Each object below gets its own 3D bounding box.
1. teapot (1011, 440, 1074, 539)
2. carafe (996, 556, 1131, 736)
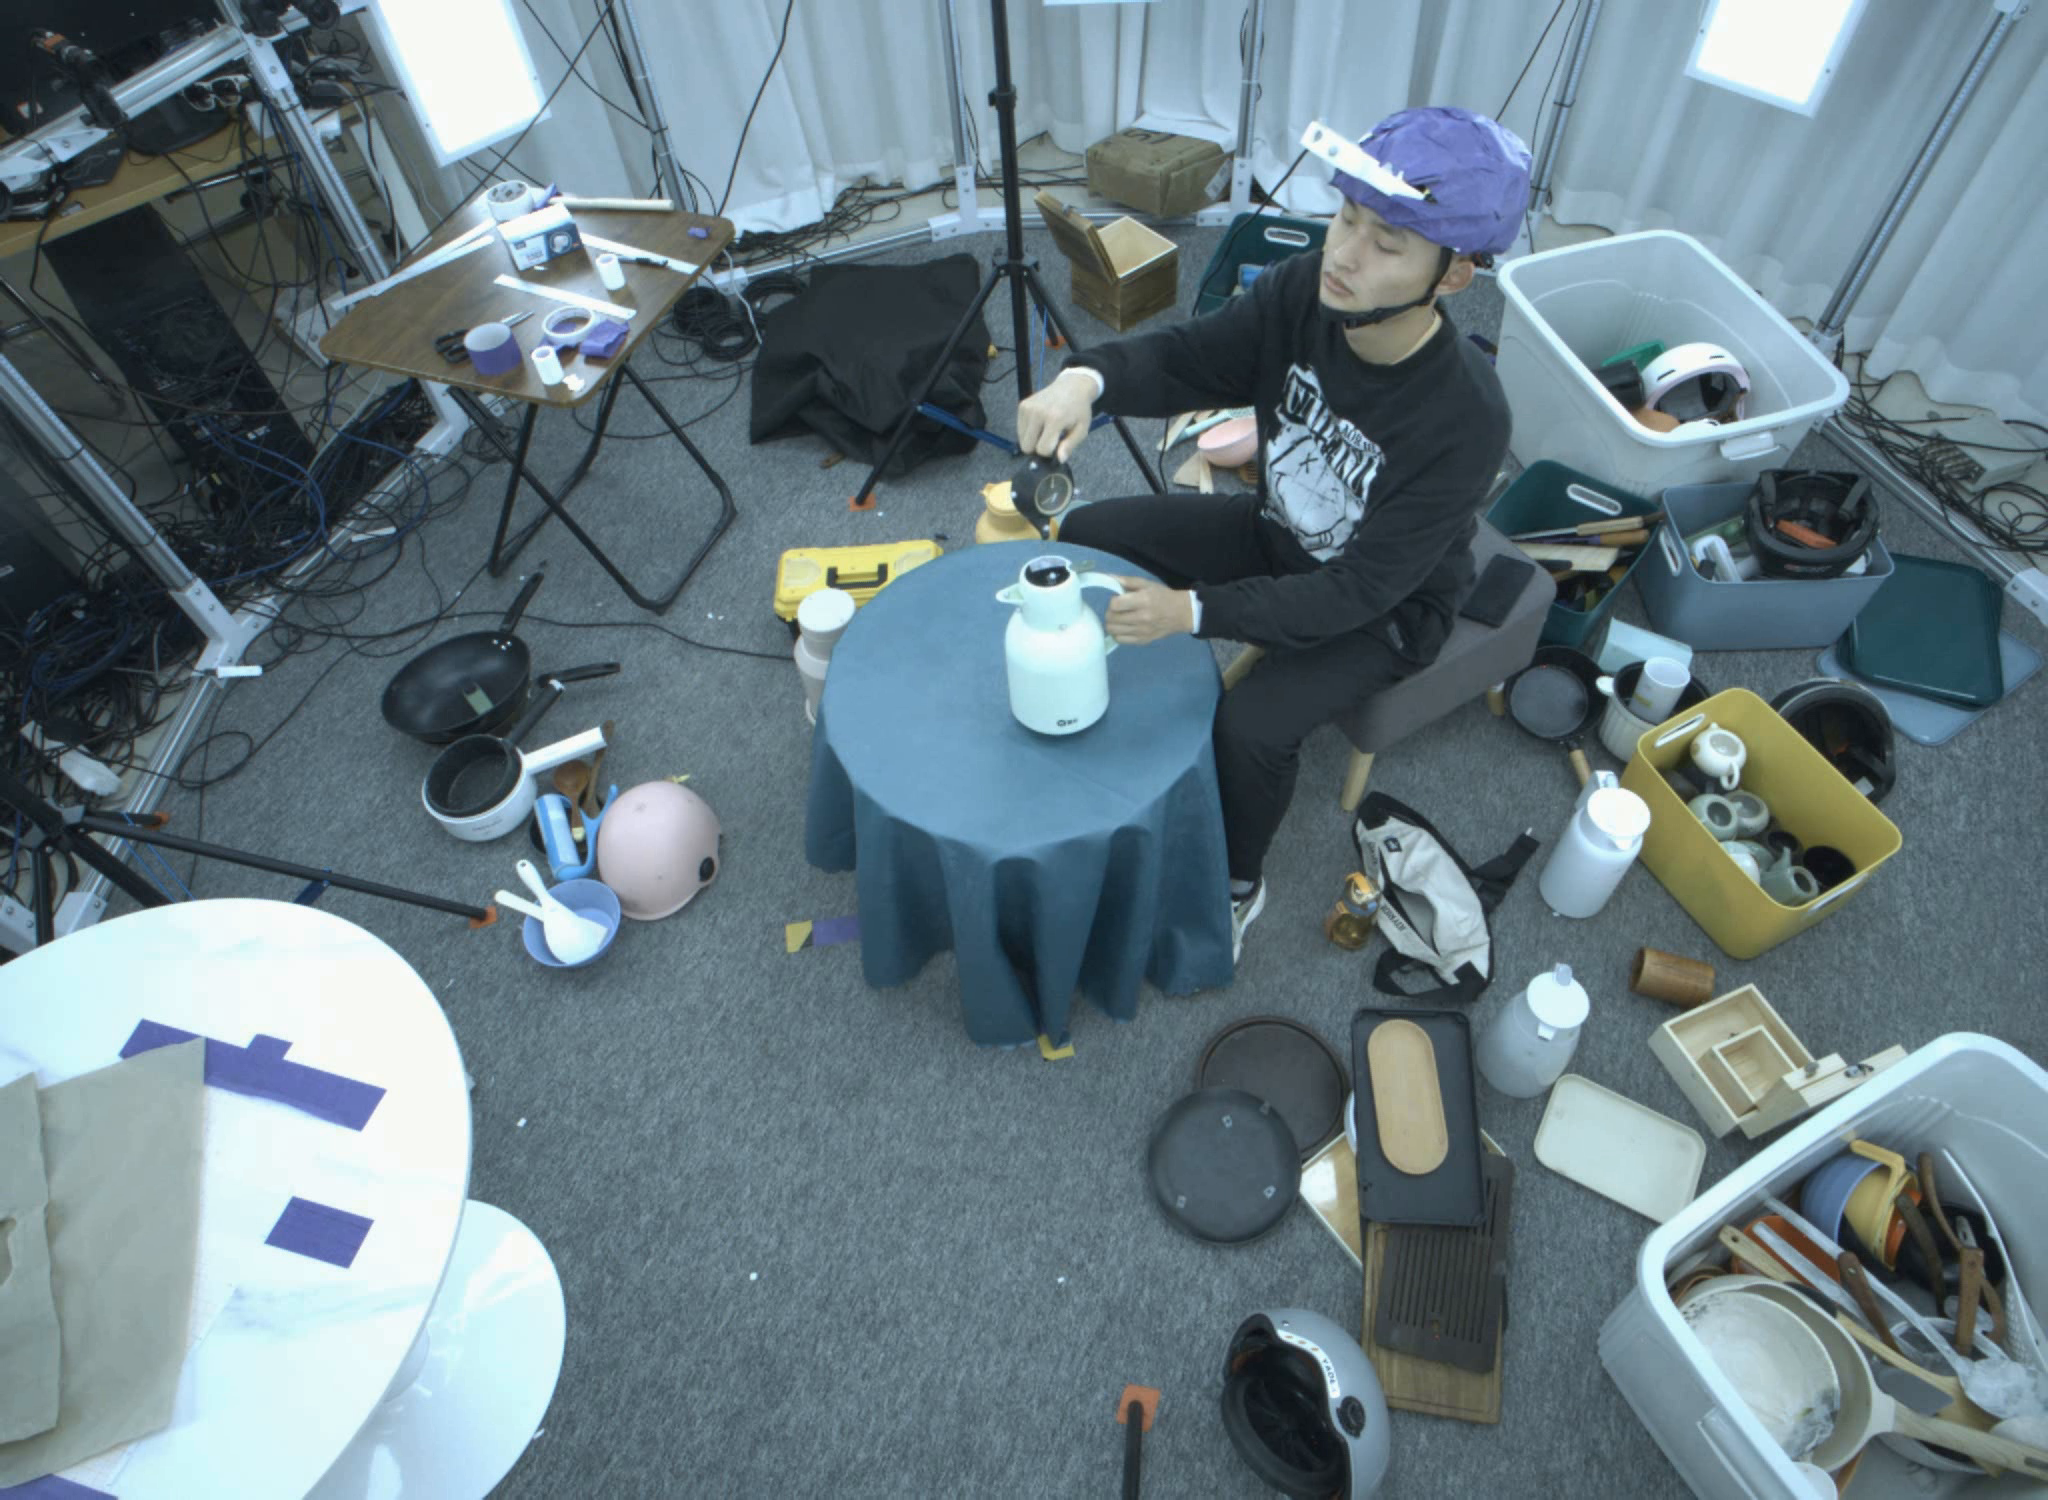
[{"bbox_3d":[0.025,-0.347,1.609,0.092,0.134,0.052,-12,37,-30],"label":"teapot"},{"bbox_3d":[0.056,-0.153,1.729,0.188,0.259,0.142,-11,46,-9],"label":"carafe"}]
